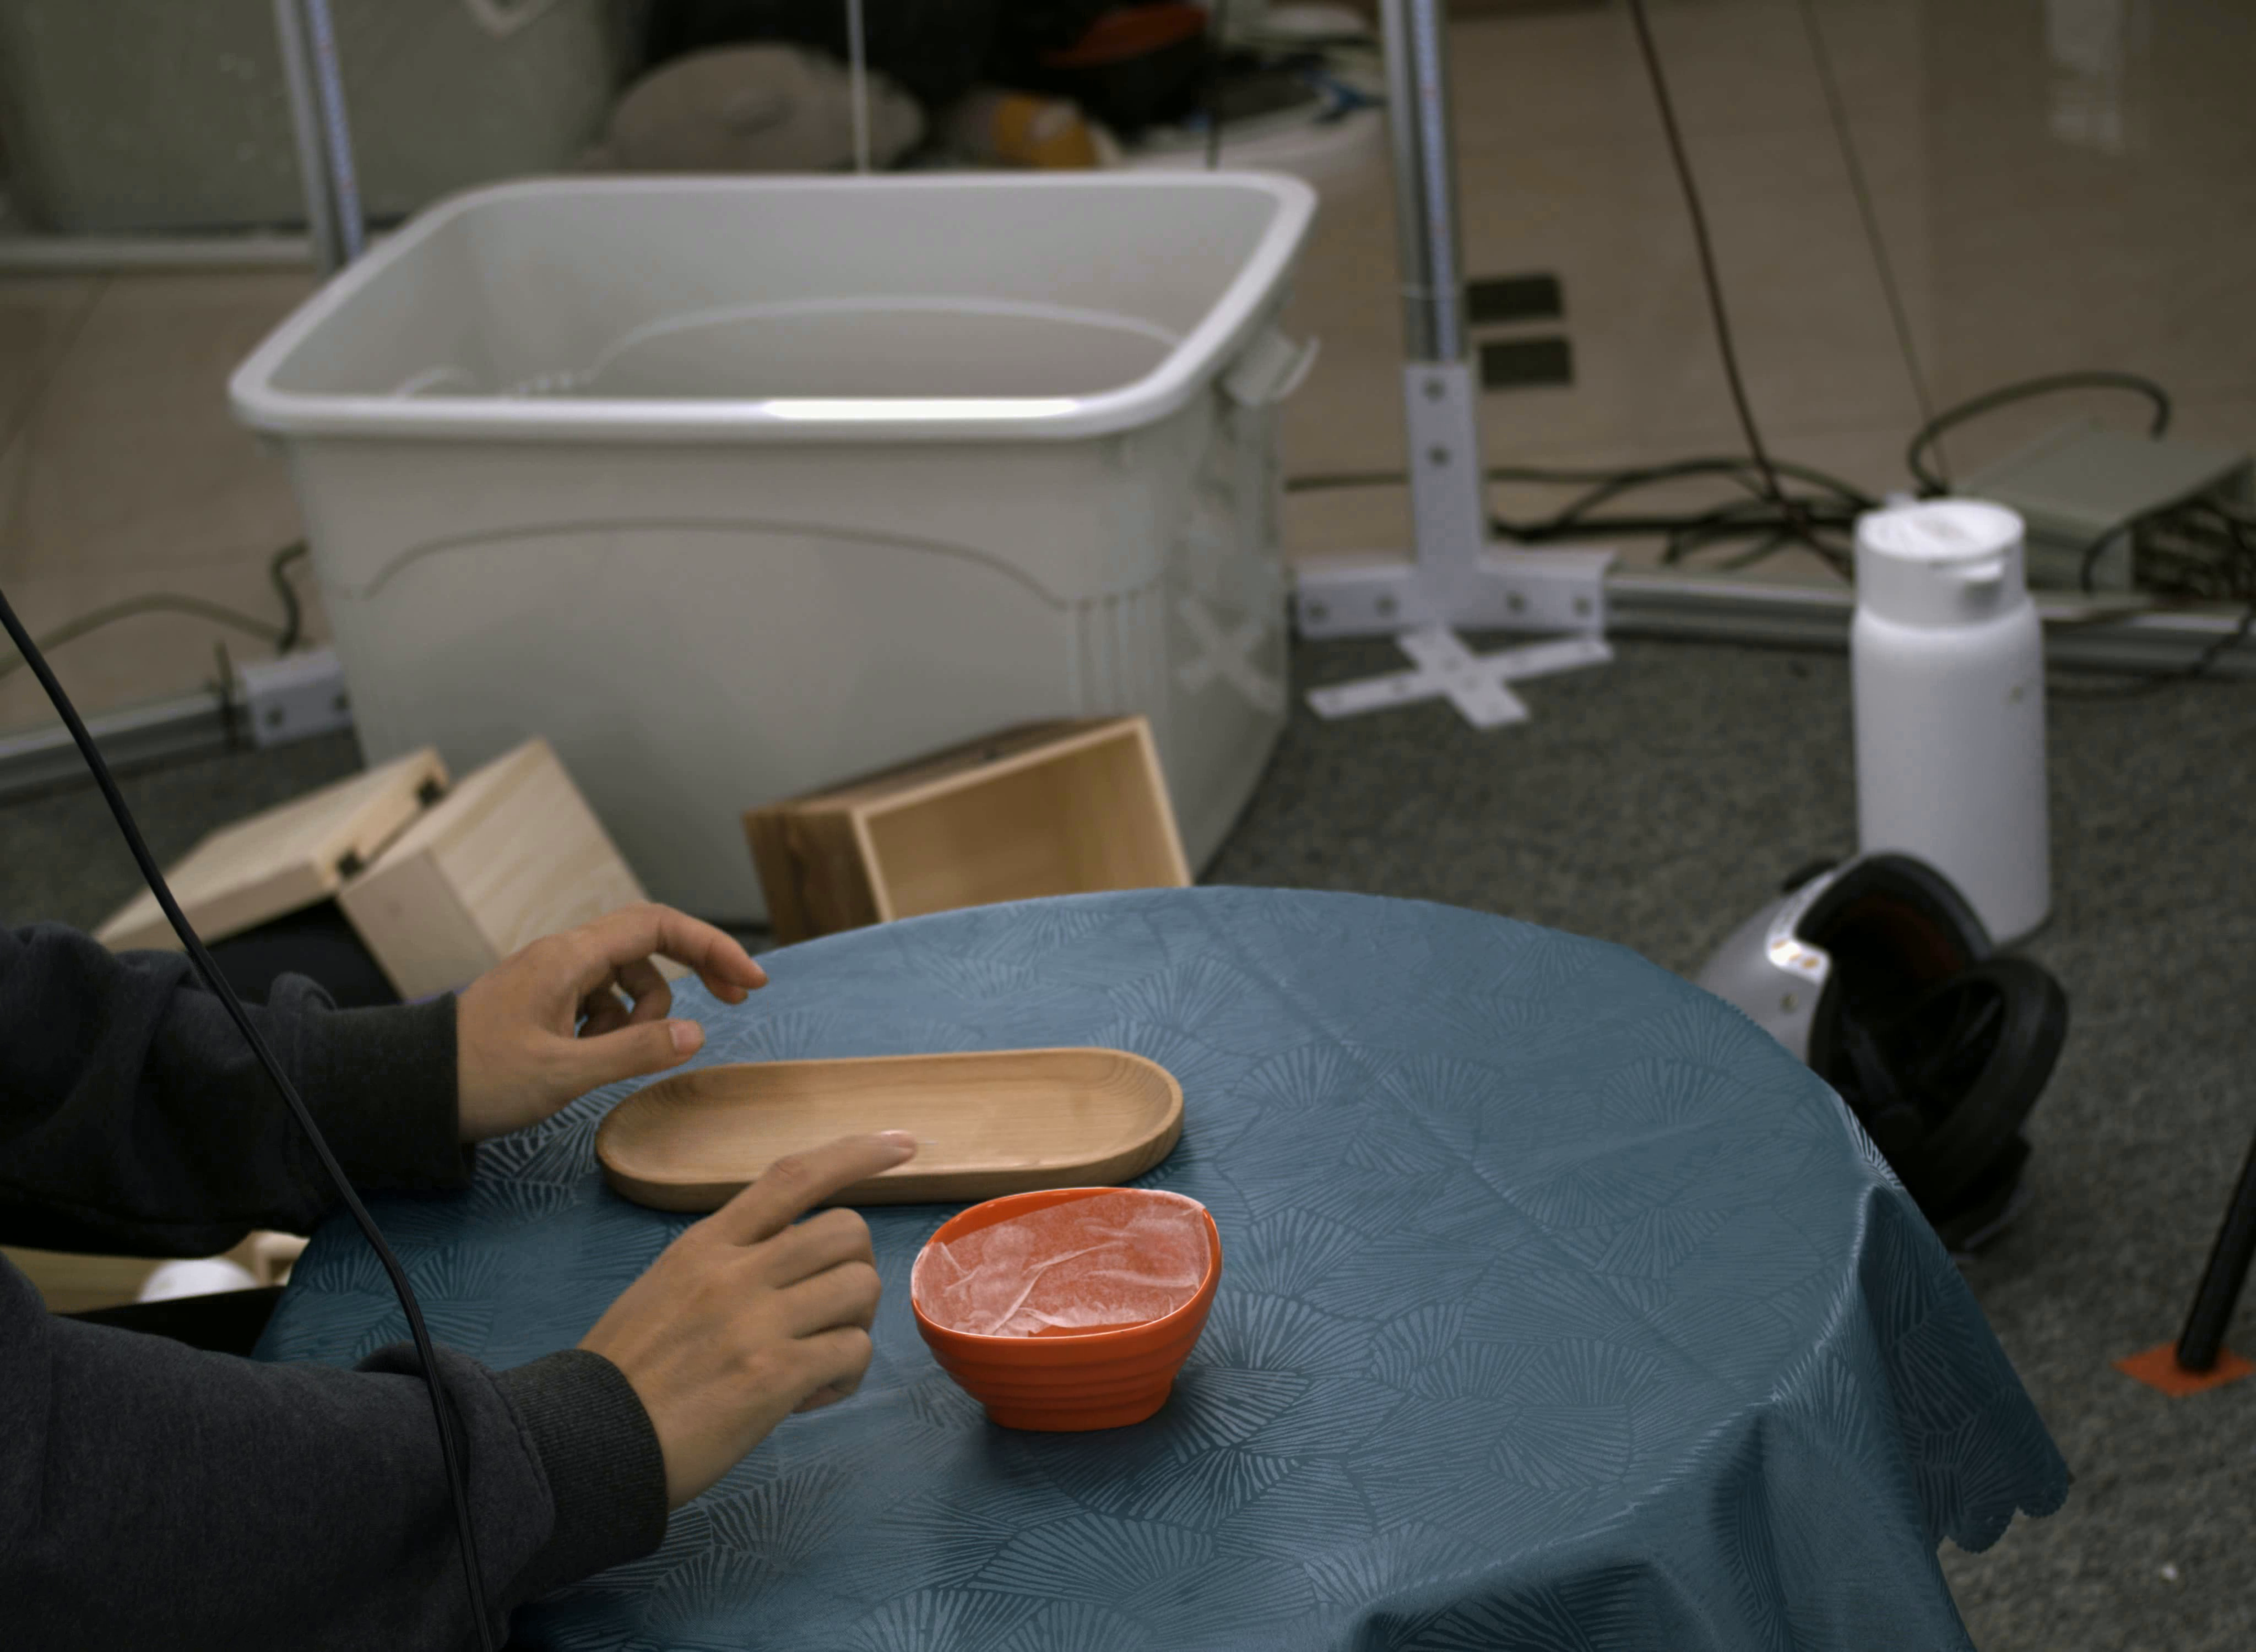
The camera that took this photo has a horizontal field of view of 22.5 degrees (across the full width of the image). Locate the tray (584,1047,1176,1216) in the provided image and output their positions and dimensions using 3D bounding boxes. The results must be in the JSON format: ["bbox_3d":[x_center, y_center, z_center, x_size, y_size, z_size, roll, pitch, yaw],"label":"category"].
[{"bbox_3d":[-0.096,0.119,2.194,0.231,0.020,0.100,-4,24,7],"label":"tray"}]

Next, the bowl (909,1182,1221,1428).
[{"bbox_3d":[-0.020,0.174,2.011,0.119,0.052,0.117,-5,26,2],"label":"bowl"}]
